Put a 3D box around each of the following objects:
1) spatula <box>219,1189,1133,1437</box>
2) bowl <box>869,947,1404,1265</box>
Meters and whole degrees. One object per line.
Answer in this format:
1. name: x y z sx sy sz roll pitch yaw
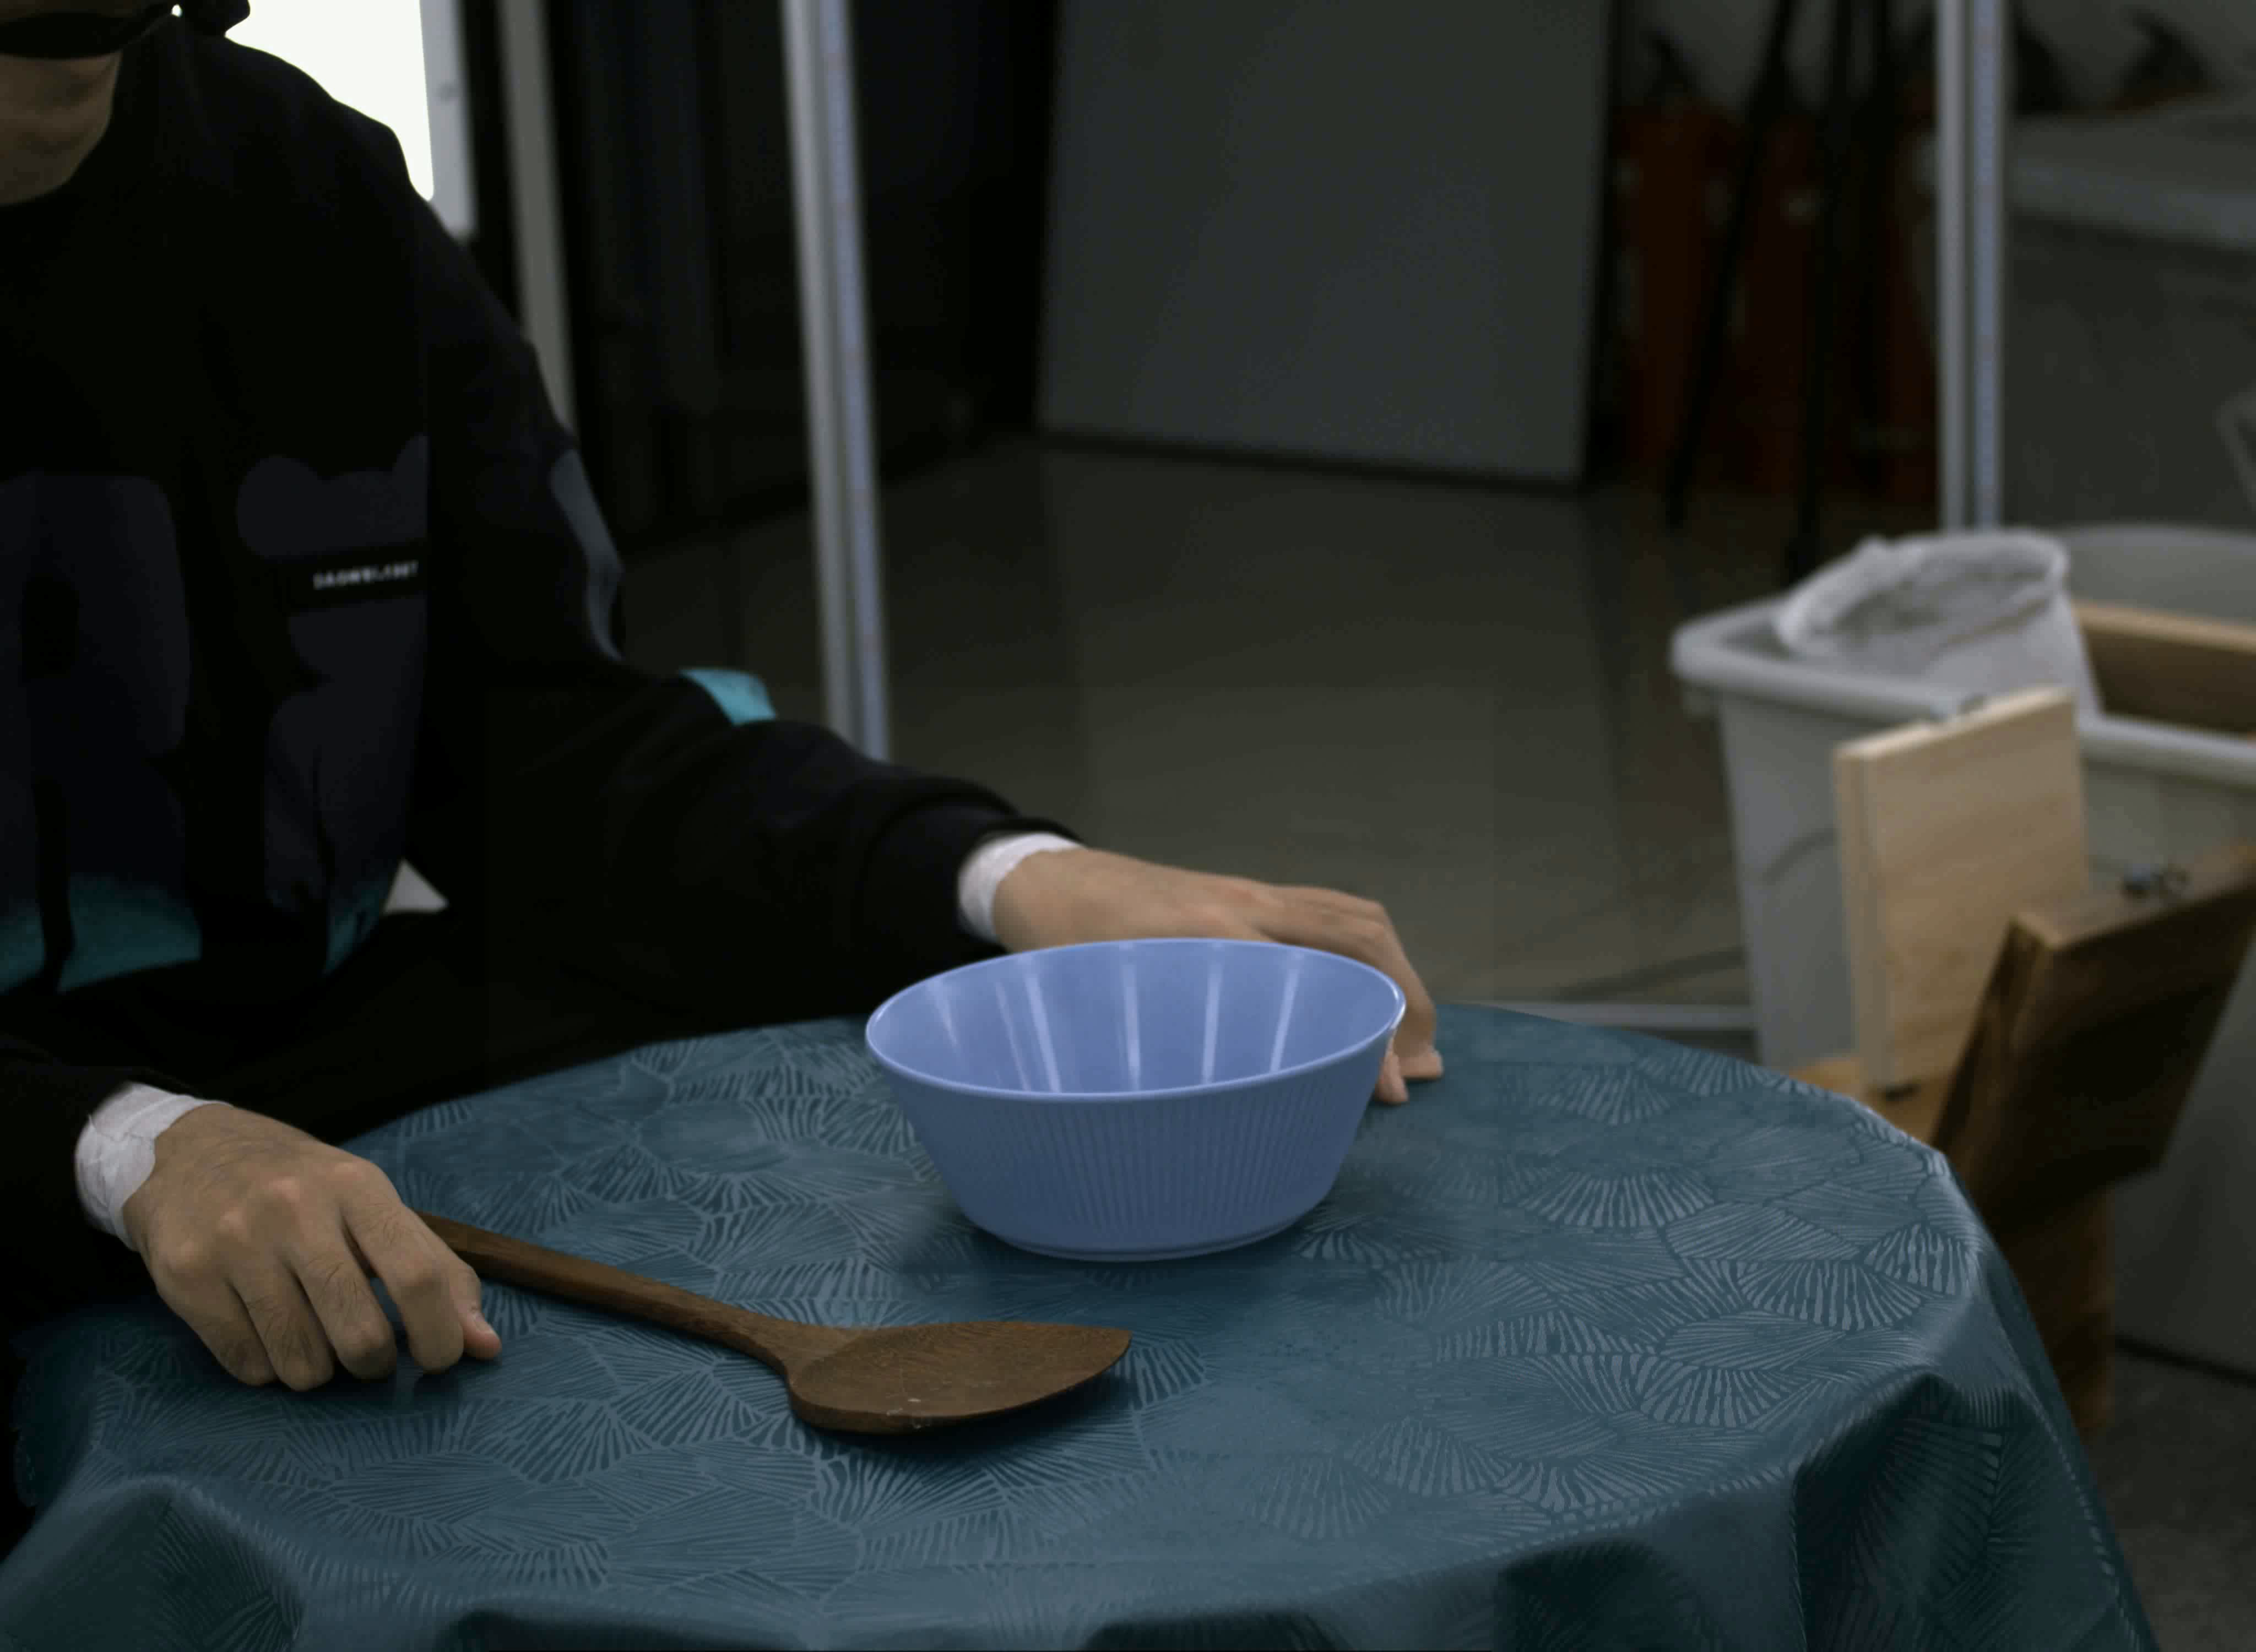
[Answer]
1. spatula: -0.159 0.147 1.686 0.389 0.016 0.094 9 18 43
2. bowl: 0.005 0.092 1.741 0.174 0.071 0.176 -5 13 0
